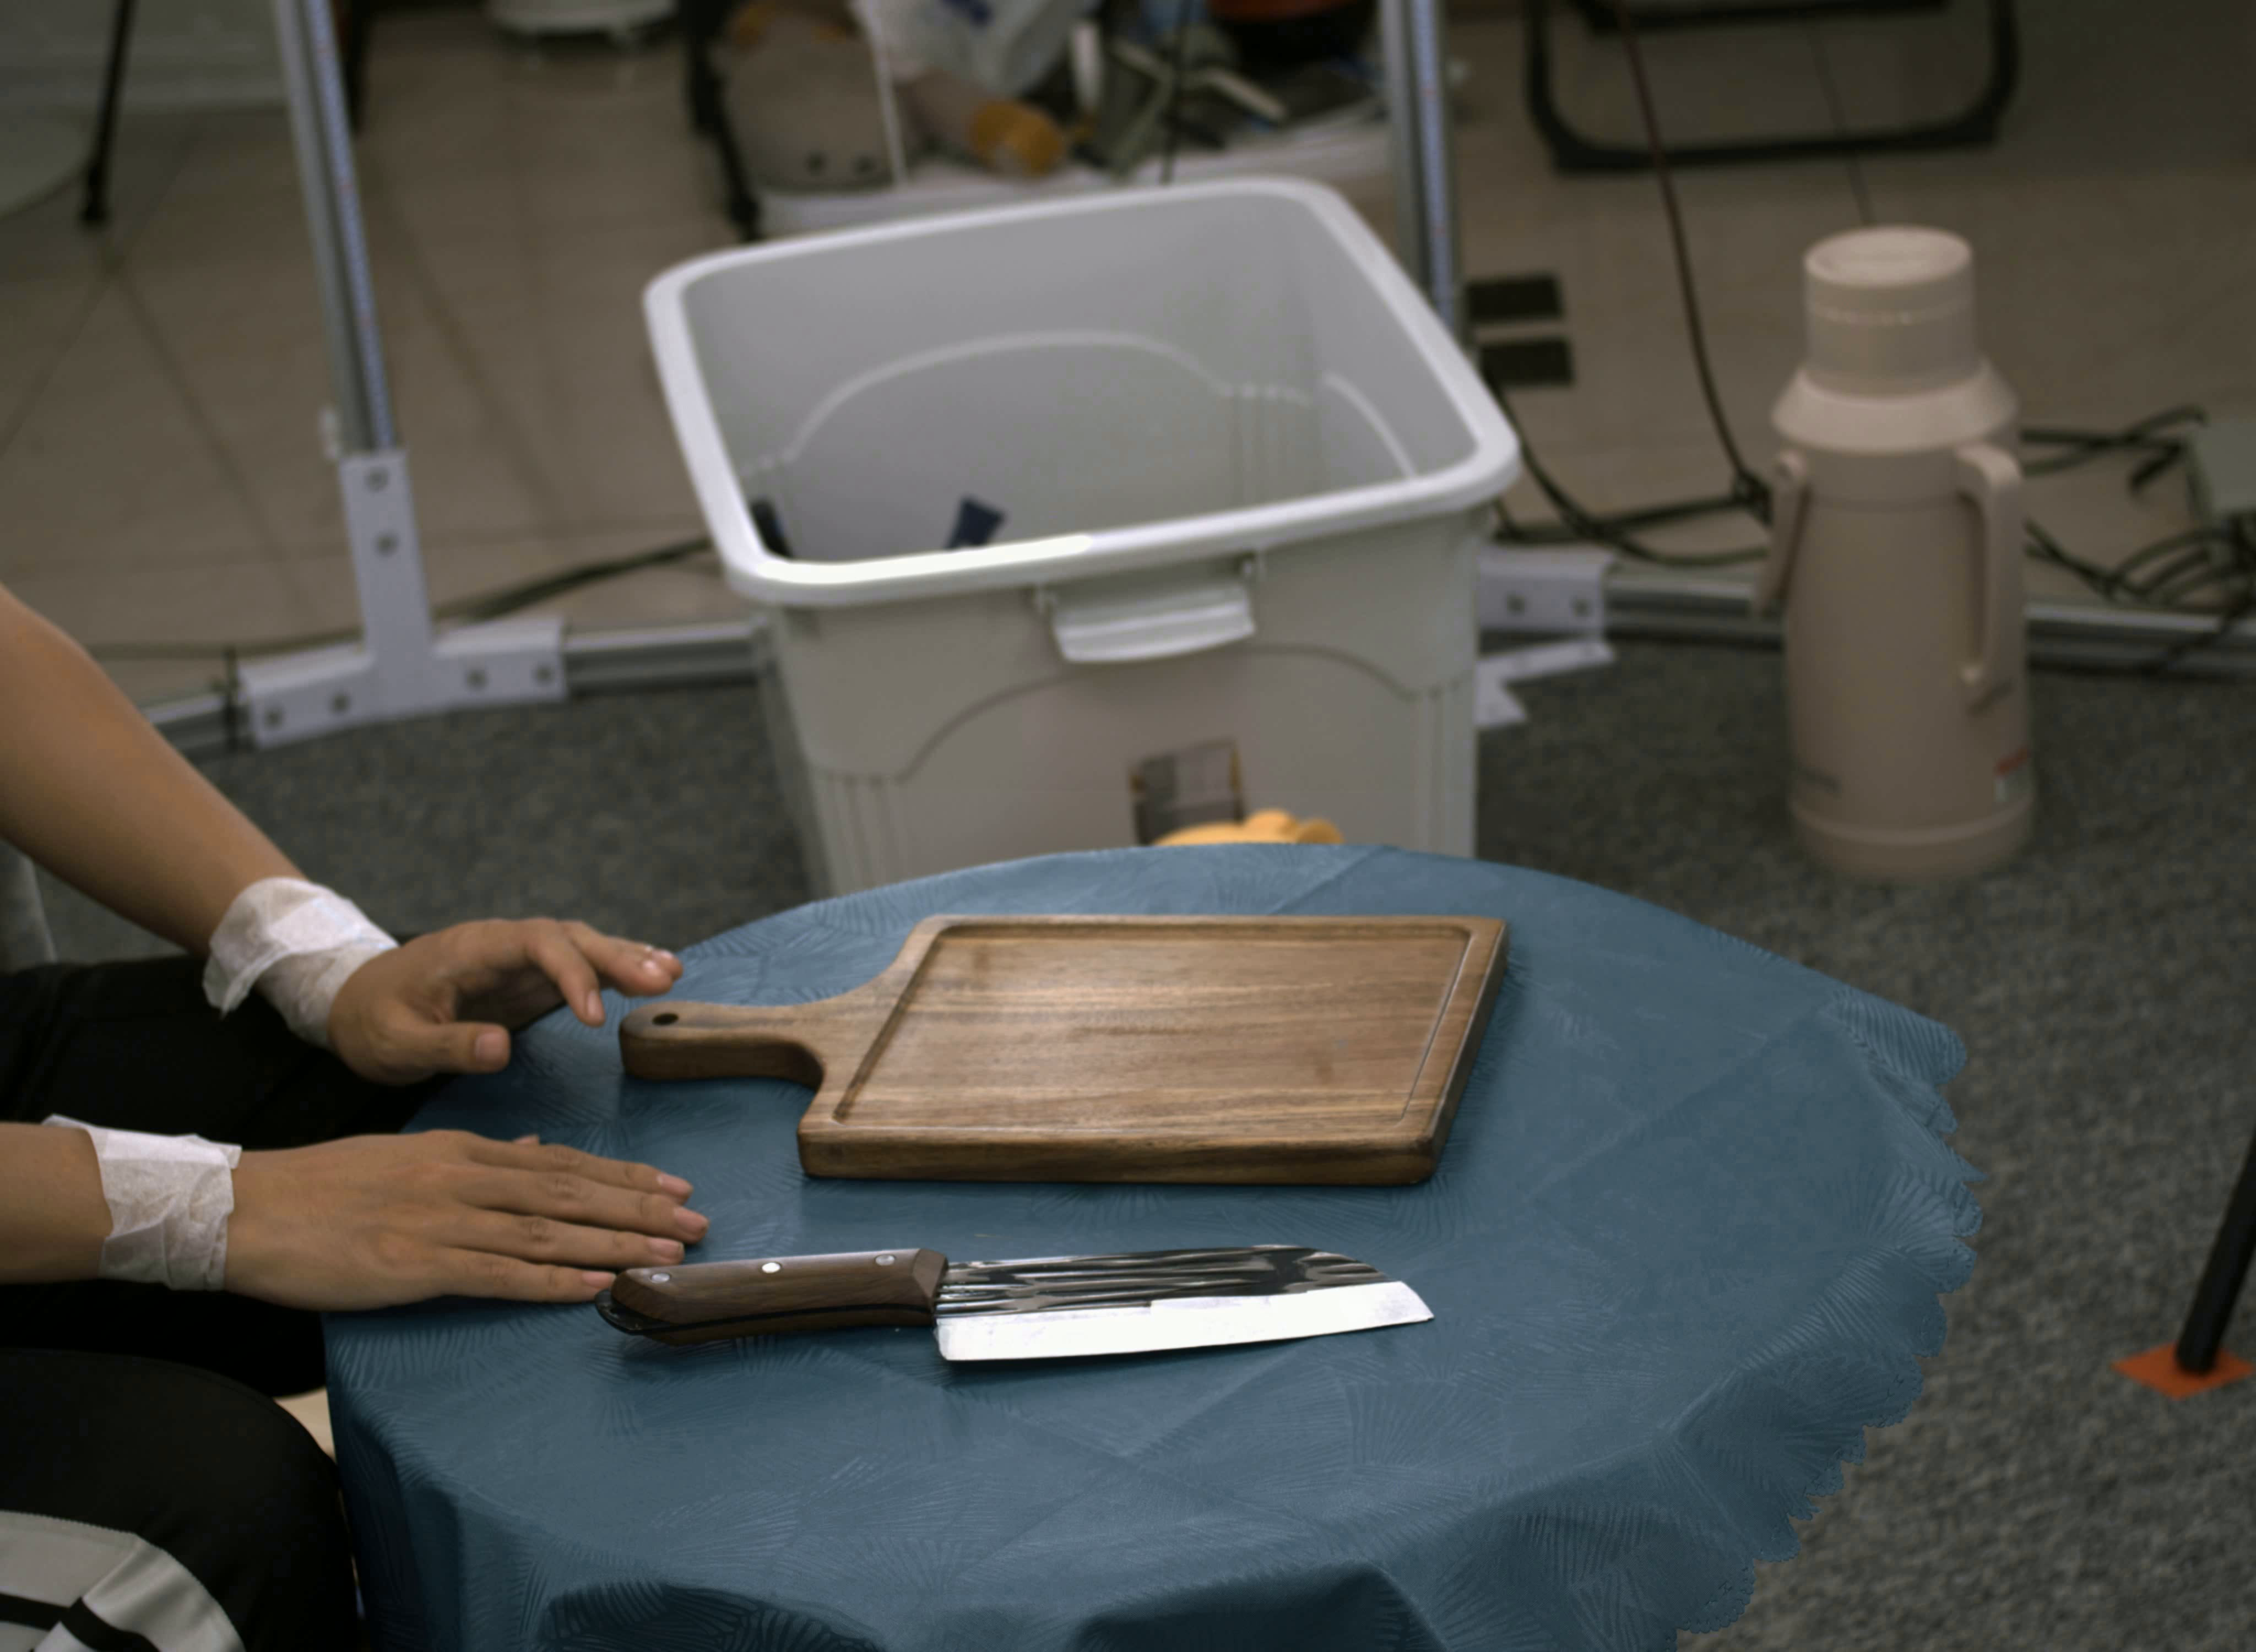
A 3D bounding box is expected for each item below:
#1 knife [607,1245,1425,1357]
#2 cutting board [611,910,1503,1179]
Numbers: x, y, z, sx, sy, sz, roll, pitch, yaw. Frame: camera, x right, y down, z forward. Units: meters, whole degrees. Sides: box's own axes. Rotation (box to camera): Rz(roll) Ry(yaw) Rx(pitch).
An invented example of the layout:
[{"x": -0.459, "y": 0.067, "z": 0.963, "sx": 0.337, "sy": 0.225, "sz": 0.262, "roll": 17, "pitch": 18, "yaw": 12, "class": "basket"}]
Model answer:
[{"x": -0.043, "y": 0.174, "z": 2.063, "sx": 0.299, "sy": 0.024, "sz": 0.067, "roll": -3, "pitch": 27, "yaw": 1, "class": "knife"}, {"x": -0.036, "y": 0.085, "z": 2.251, "sx": 0.351, "sy": 0.023, "sz": 0.198, "roll": -1, "pitch": 25, "yaw": 14, "class": "cutting board"}]
